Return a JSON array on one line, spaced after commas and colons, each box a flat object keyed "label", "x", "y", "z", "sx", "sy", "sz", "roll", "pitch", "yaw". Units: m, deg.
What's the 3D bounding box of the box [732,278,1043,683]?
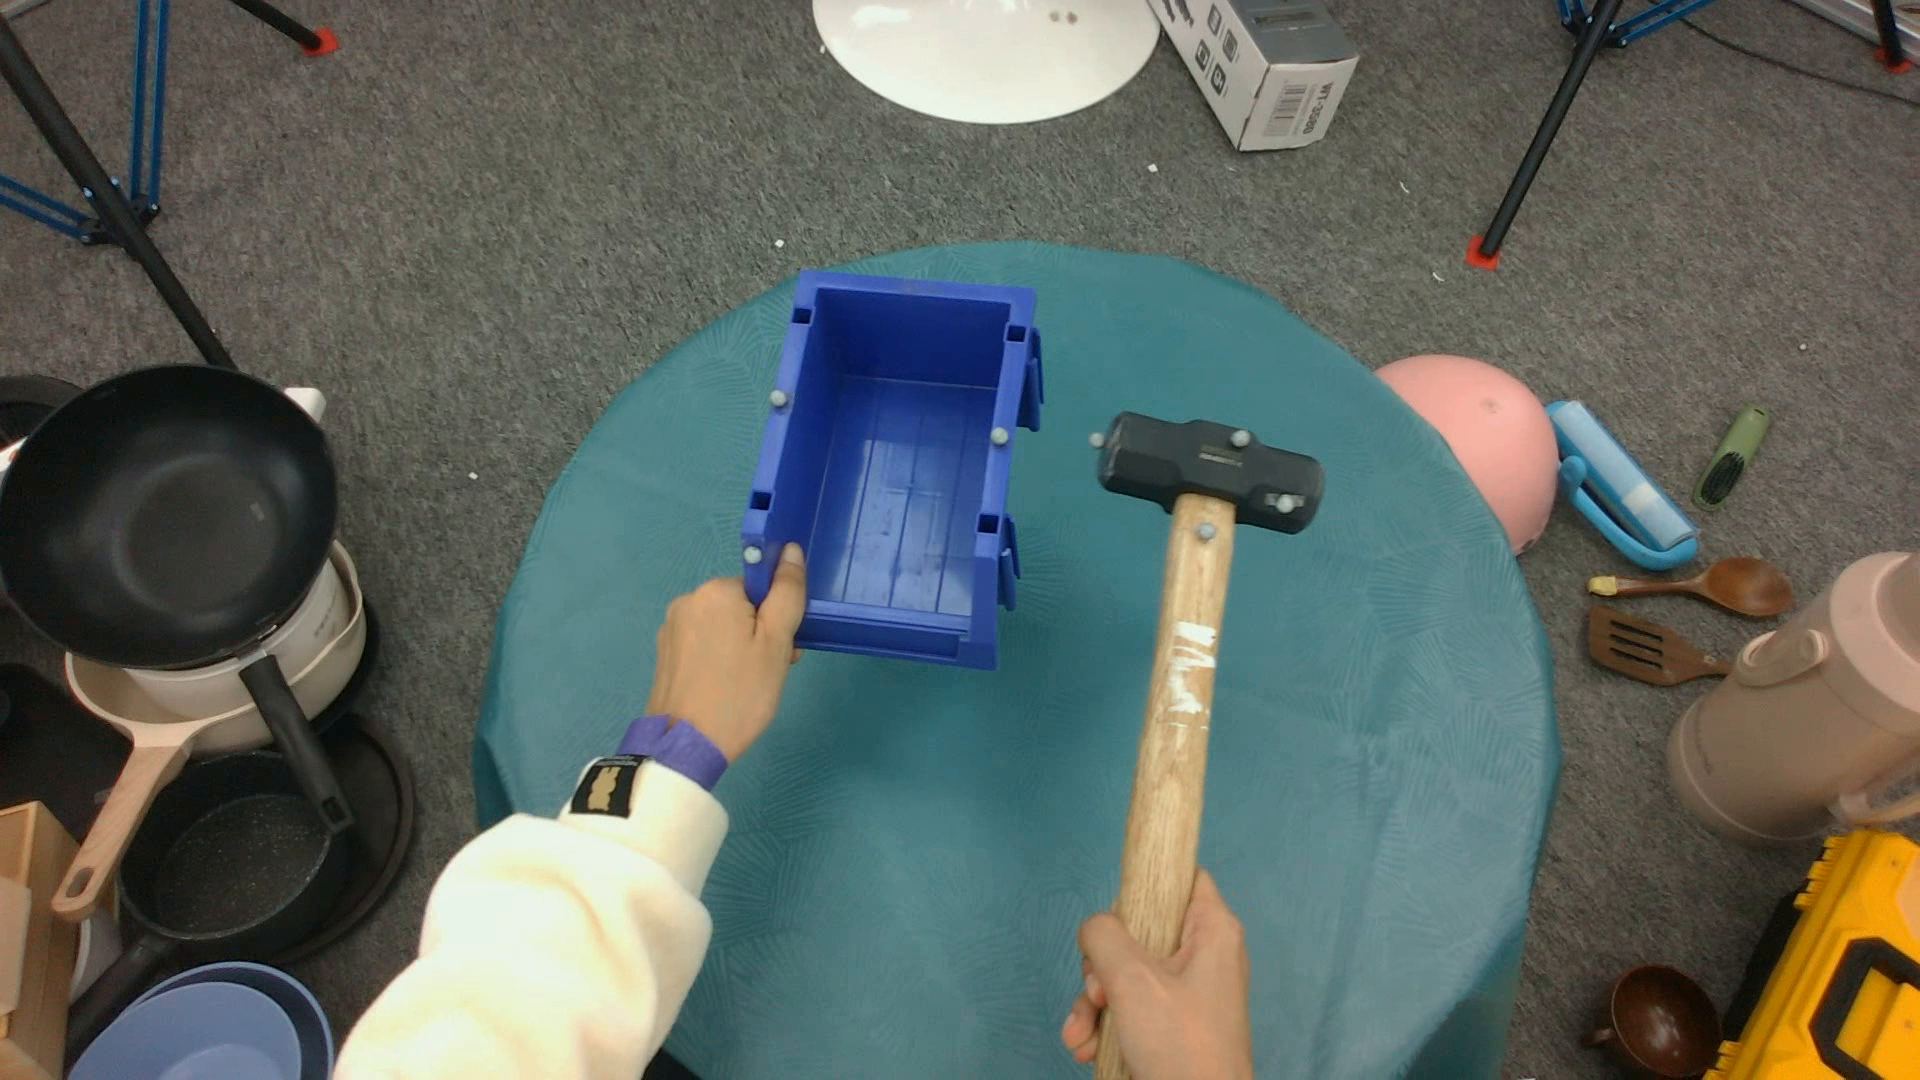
[{"label": "box", "x": -0.031, "y": -0.028, "z": 0.677, "sx": 0.124, "sy": 0.081, "sz": 0.180, "roll": 8, "pitch": 62, "yaw": 7}]

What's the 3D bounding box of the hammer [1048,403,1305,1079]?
[{"label": "hammer", "x": 0.085, "y": 0.081, "z": 0.620, "sx": 0.107, "sy": 0.038, "sz": 0.306, "roll": 15, "pitch": 64, "yaw": -2}]
